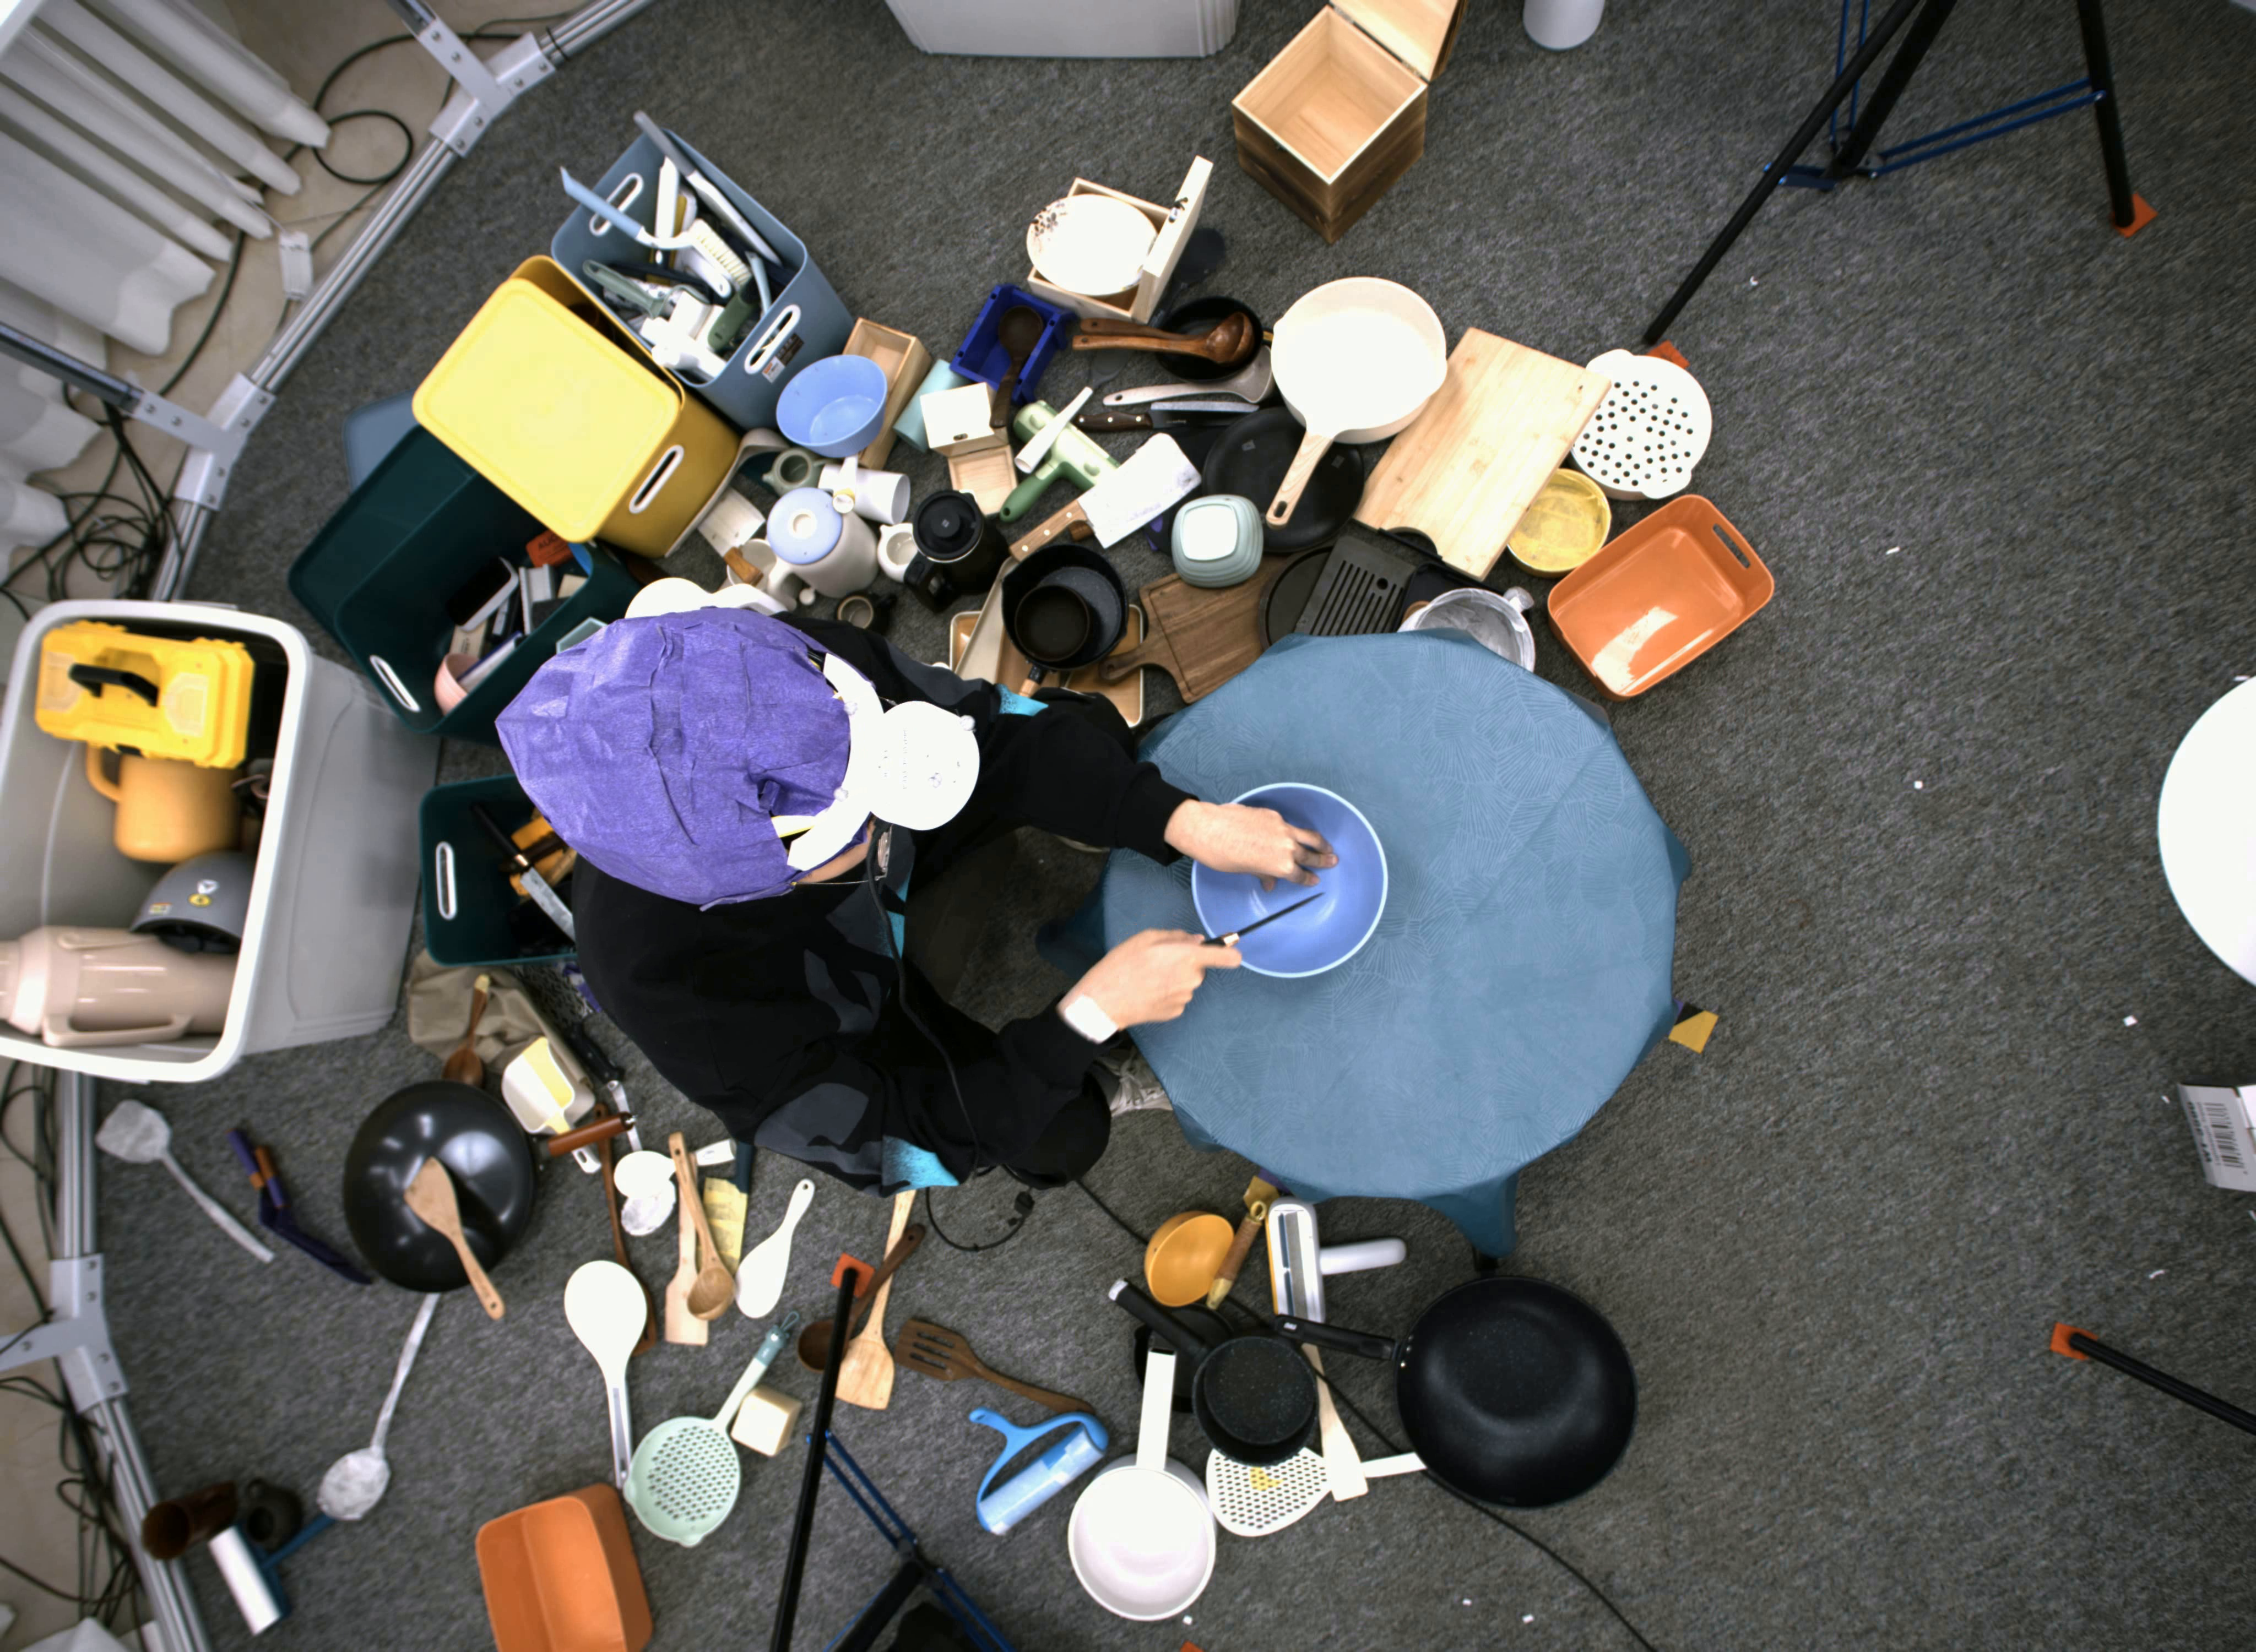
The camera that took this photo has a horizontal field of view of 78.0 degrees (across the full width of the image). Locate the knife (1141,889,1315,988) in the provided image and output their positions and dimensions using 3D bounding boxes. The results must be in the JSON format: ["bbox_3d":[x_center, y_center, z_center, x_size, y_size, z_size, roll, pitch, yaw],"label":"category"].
[{"bbox_3d":[0.101,0.104,1.336,0.222,0.026,0.017,-25,91,-28],"label":"knife"}]

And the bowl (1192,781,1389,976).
[{"bbox_3d":[0.167,0.056,1.429,0.197,0.095,0.195,-1,85,7],"label":"bowl"}]
